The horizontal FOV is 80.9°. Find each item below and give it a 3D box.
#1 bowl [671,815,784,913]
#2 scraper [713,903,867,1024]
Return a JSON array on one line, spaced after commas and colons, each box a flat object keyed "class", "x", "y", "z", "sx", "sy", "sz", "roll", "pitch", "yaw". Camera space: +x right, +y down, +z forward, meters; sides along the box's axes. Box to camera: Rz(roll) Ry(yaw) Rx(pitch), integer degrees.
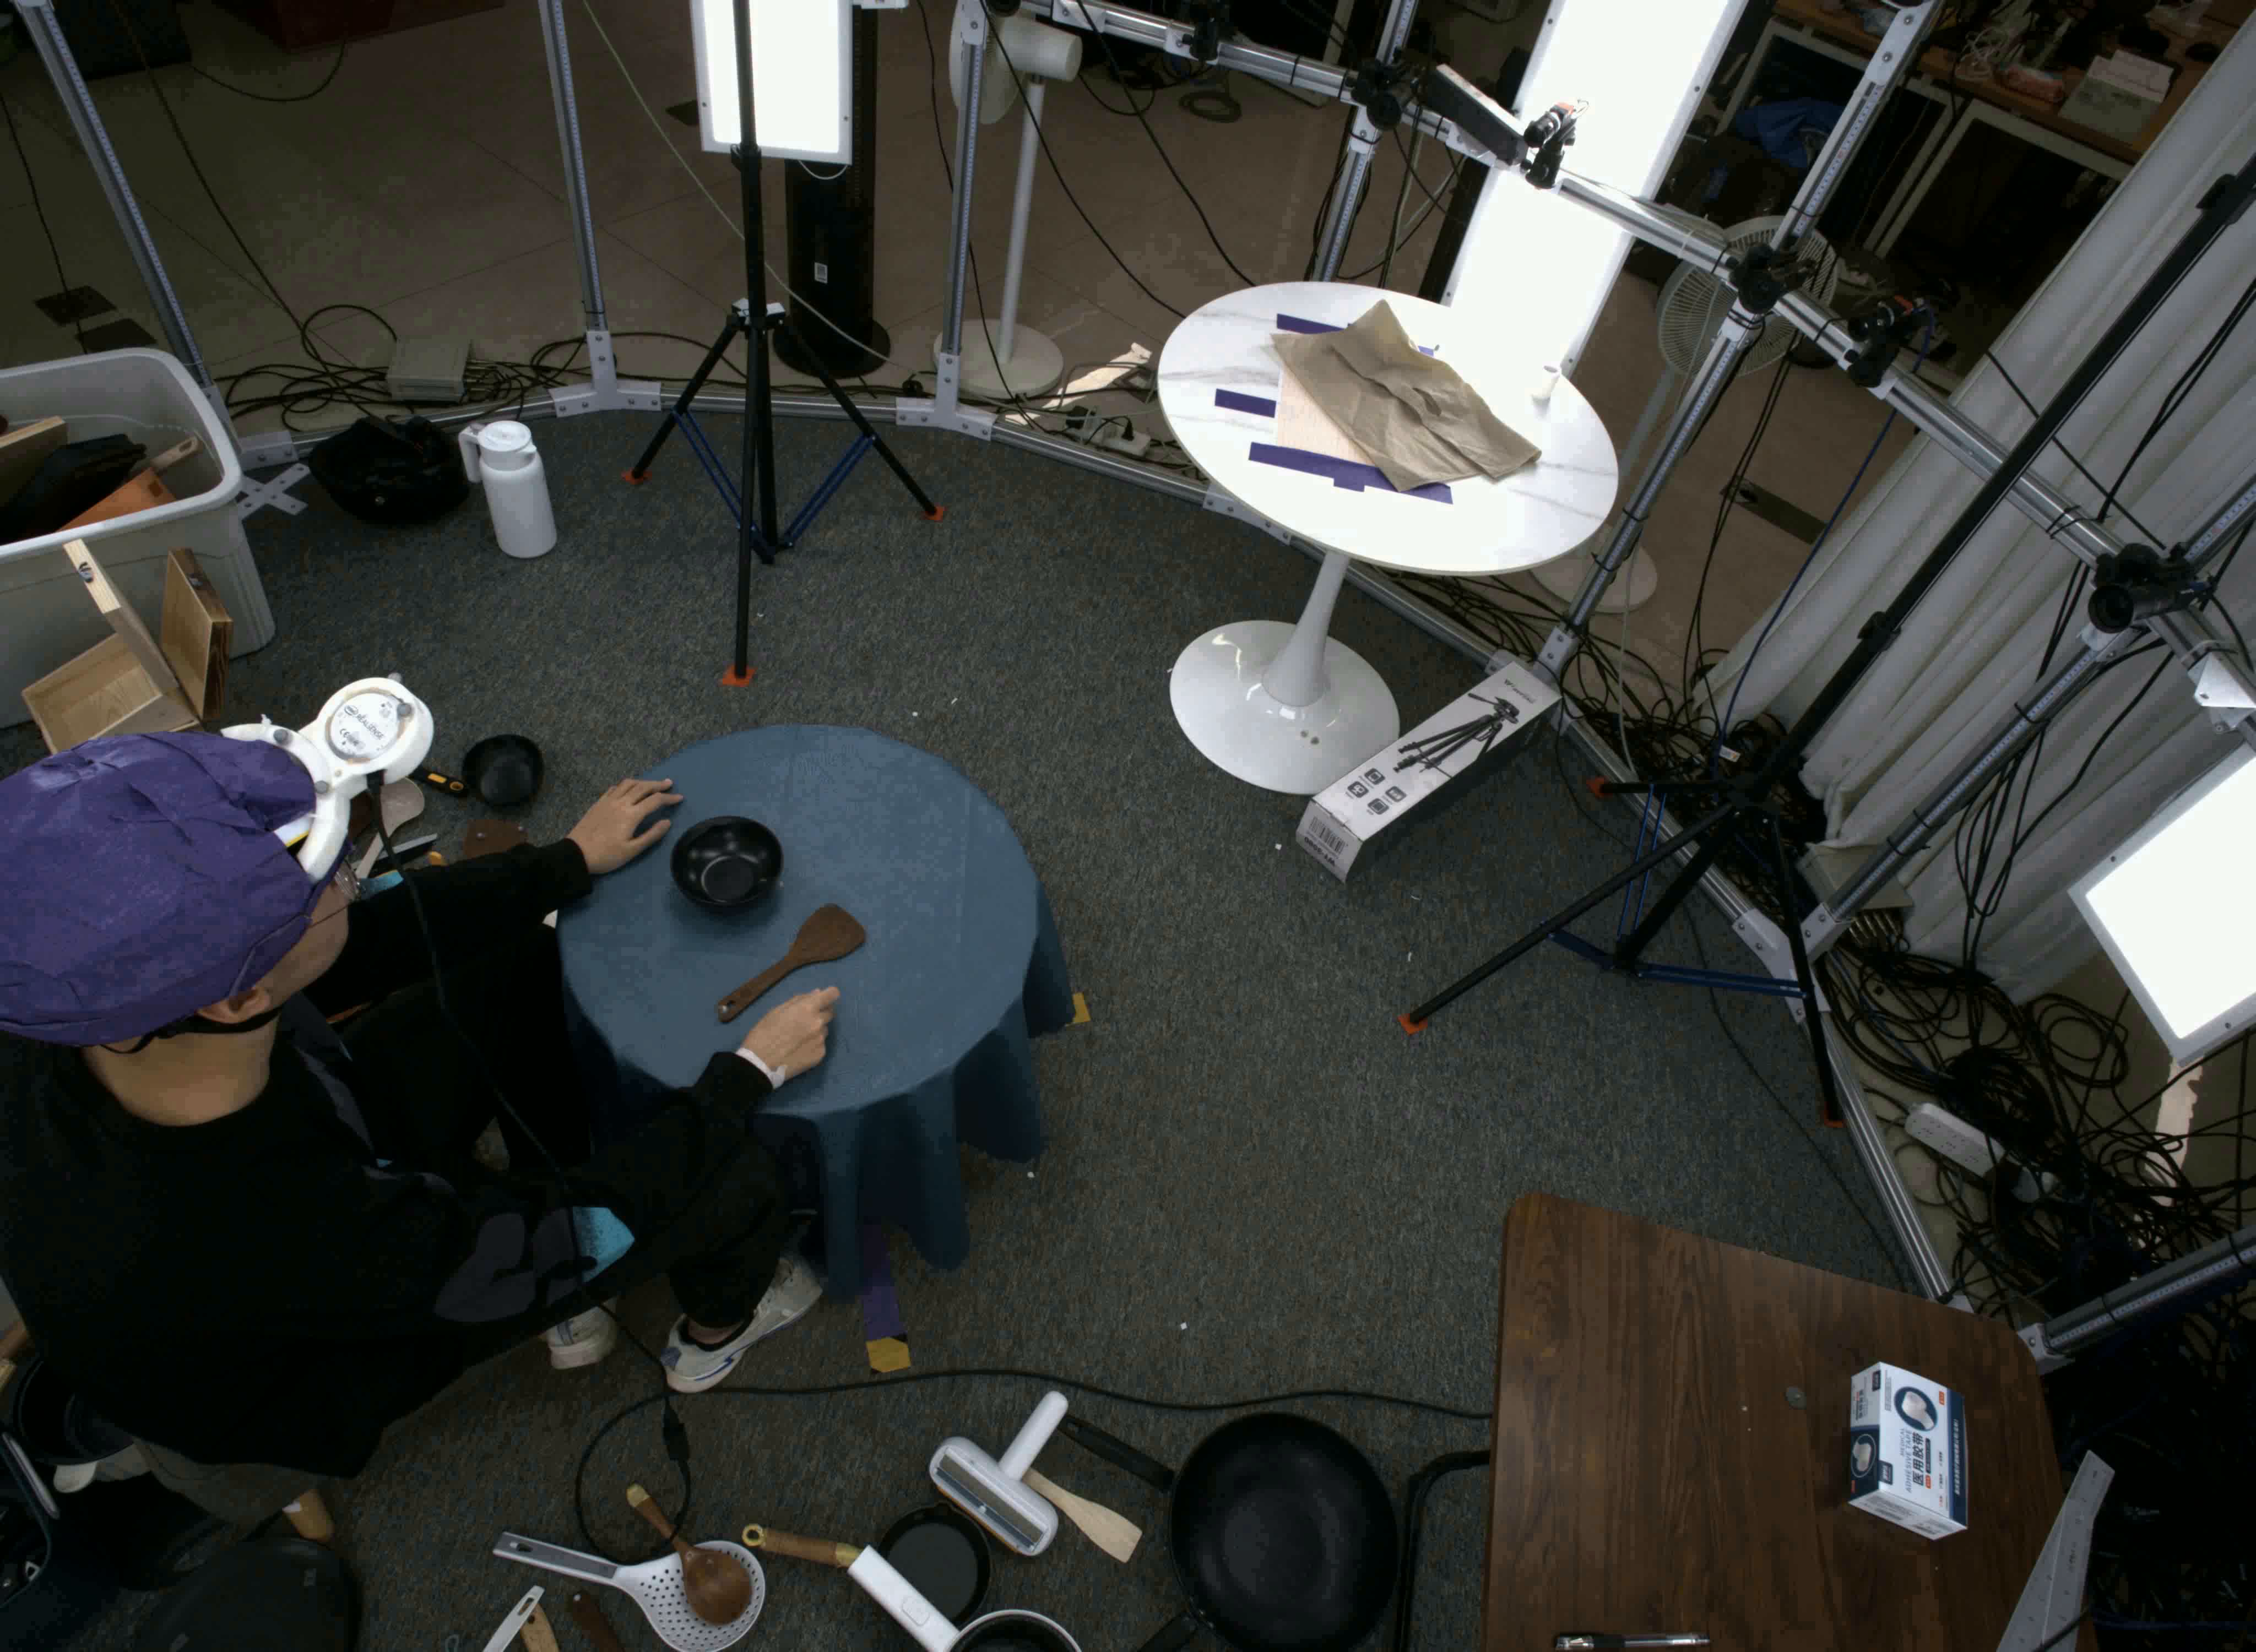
[{"class": "bowl", "x": -0.506, "y": 0.054, "z": 1.637, "sx": 0.140, "sy": 0.050, "sz": 0.138, "roll": 8, "pitch": 55, "yaw": -10}, {"class": "scraper", "x": -0.421, "y": 0.171, "z": 1.597, "sx": 0.074, "sy": 0.011, "sz": 0.211, "roll": 40, "pitch": 55, "yaw": 16}]
